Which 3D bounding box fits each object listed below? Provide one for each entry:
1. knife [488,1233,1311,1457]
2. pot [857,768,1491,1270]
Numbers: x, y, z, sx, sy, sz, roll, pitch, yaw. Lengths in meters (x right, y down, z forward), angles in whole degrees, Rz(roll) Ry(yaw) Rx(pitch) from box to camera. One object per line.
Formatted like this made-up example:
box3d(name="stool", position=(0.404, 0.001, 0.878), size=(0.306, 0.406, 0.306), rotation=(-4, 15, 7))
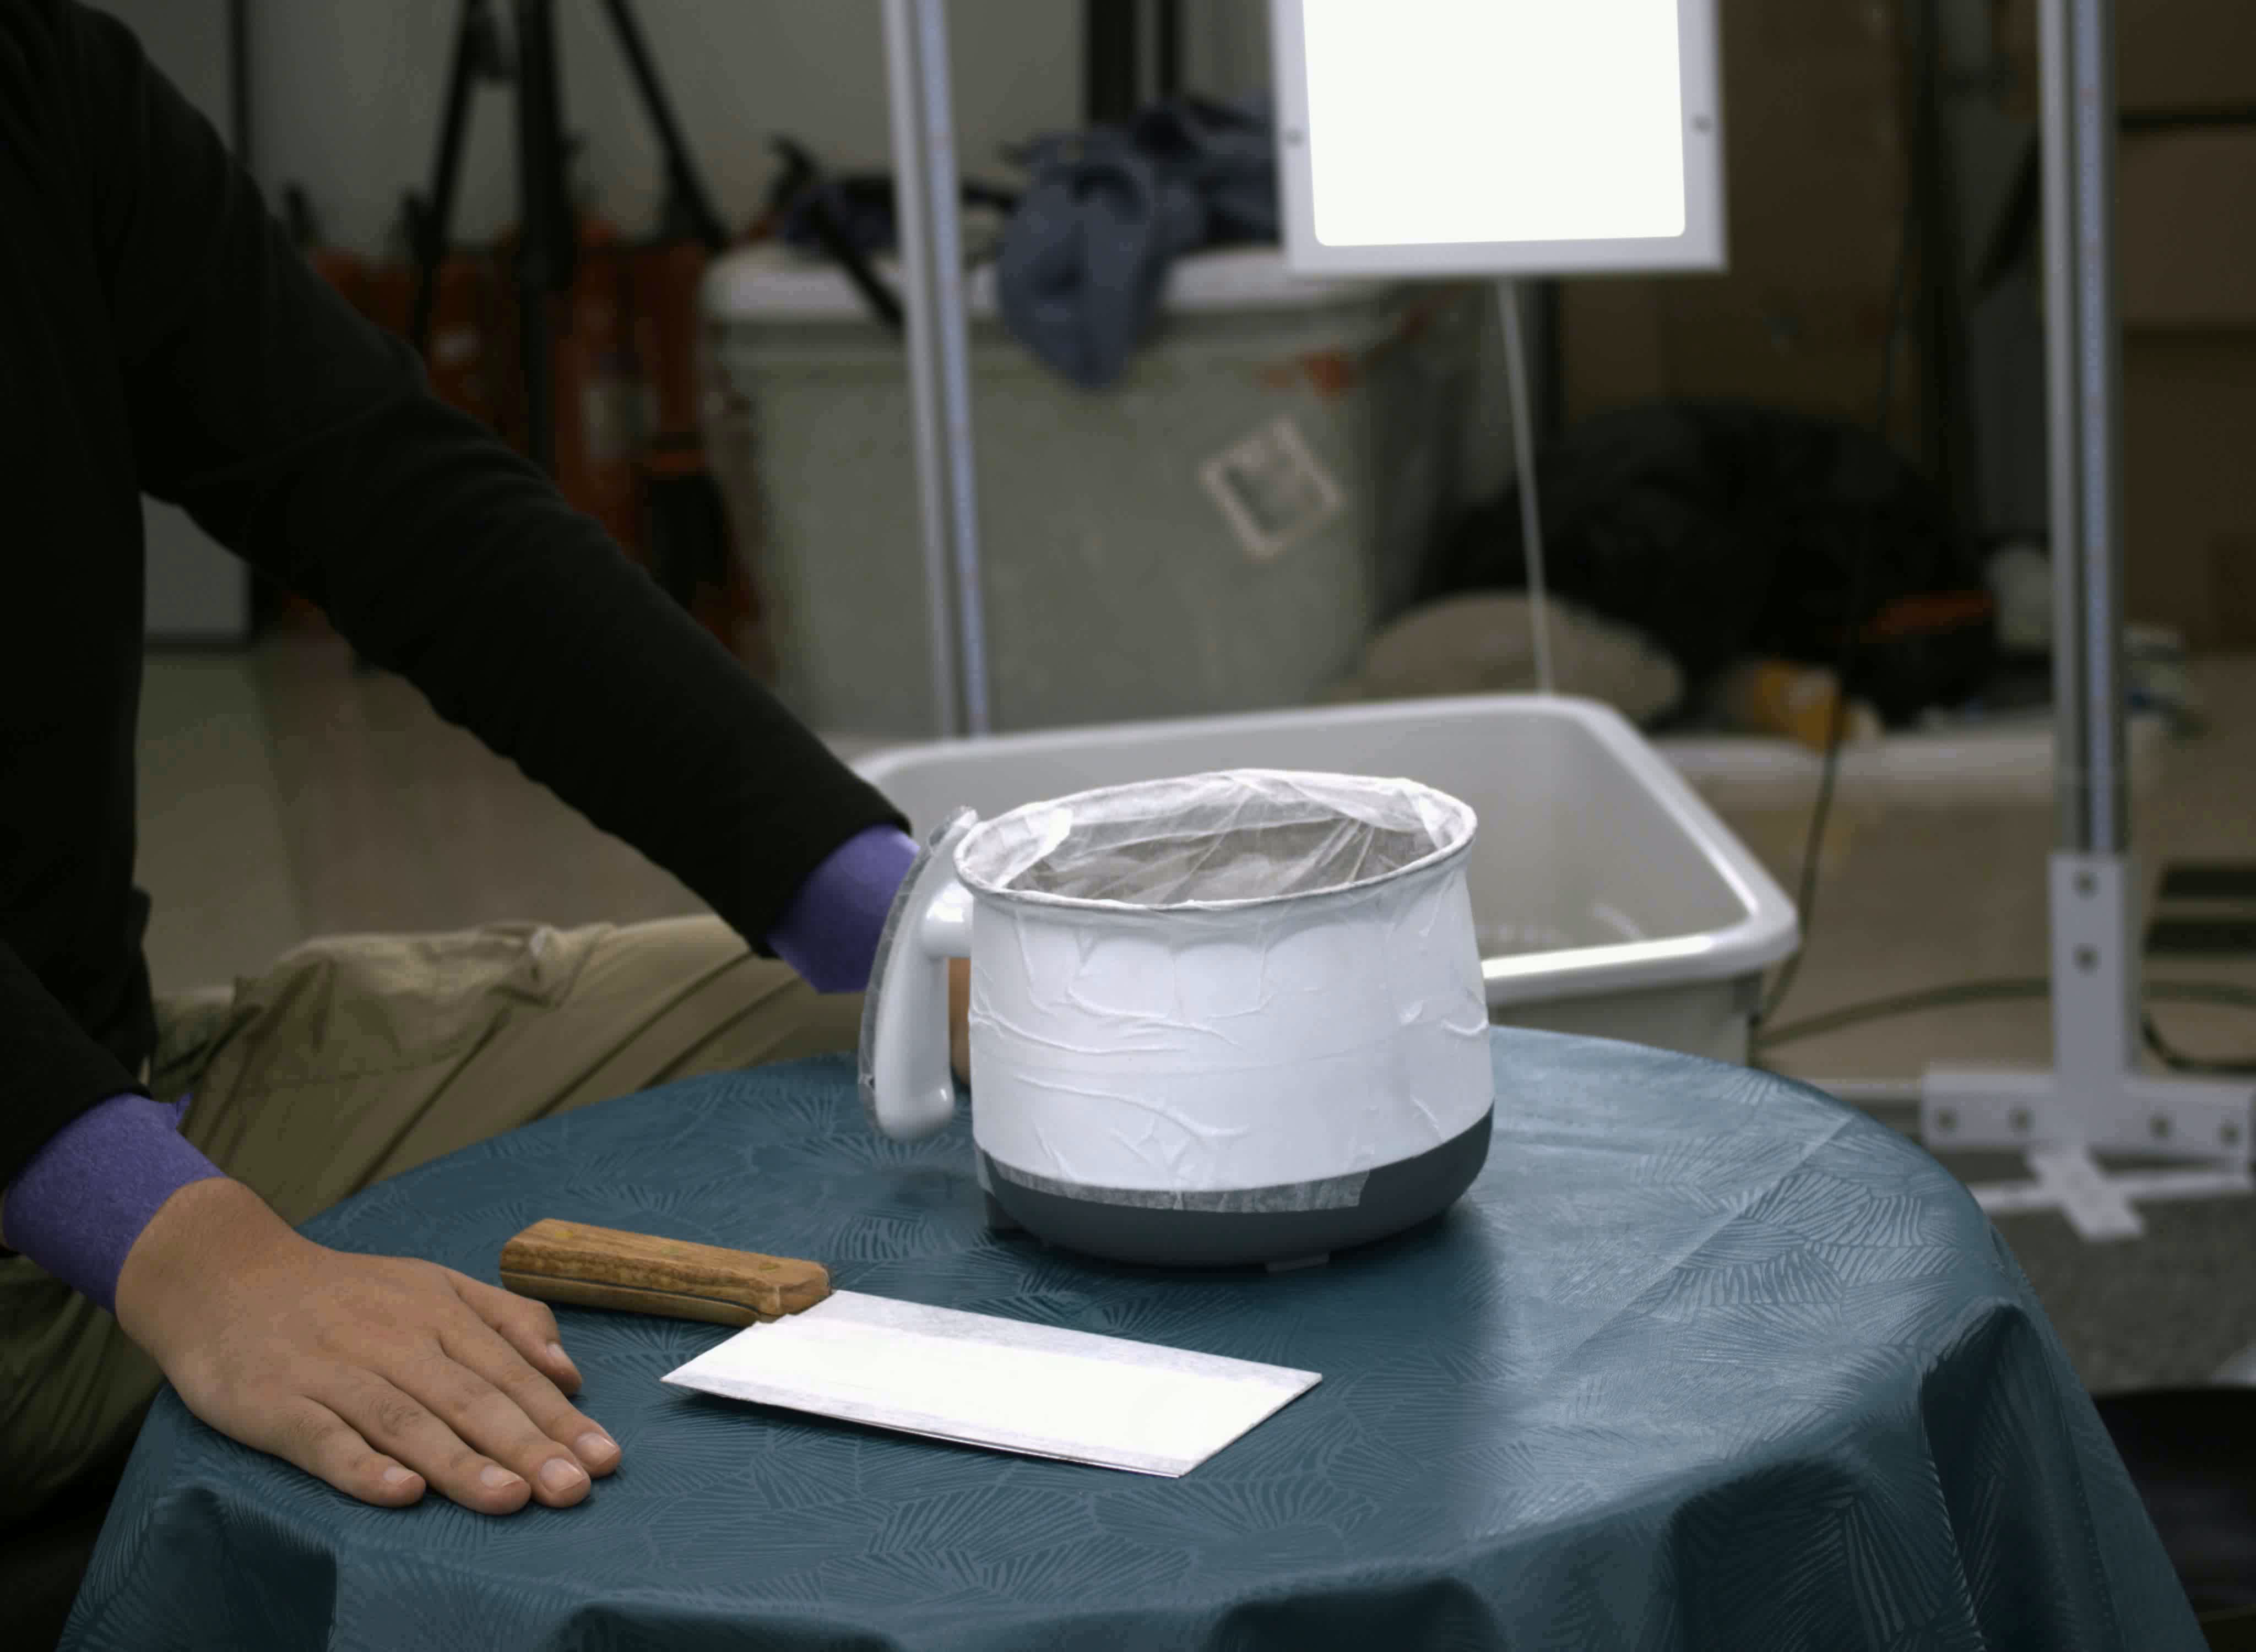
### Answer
box3d(name="knife", position=(-0.091, 0.166, 1.743), size=(0.312, 0.021, 0.091), rotation=(6, 17, 33))
box3d(name="pot", position=(0.009, 0.062, 1.865), size=(0.238, 0.137, 0.174), rotation=(4, 16, 30))
